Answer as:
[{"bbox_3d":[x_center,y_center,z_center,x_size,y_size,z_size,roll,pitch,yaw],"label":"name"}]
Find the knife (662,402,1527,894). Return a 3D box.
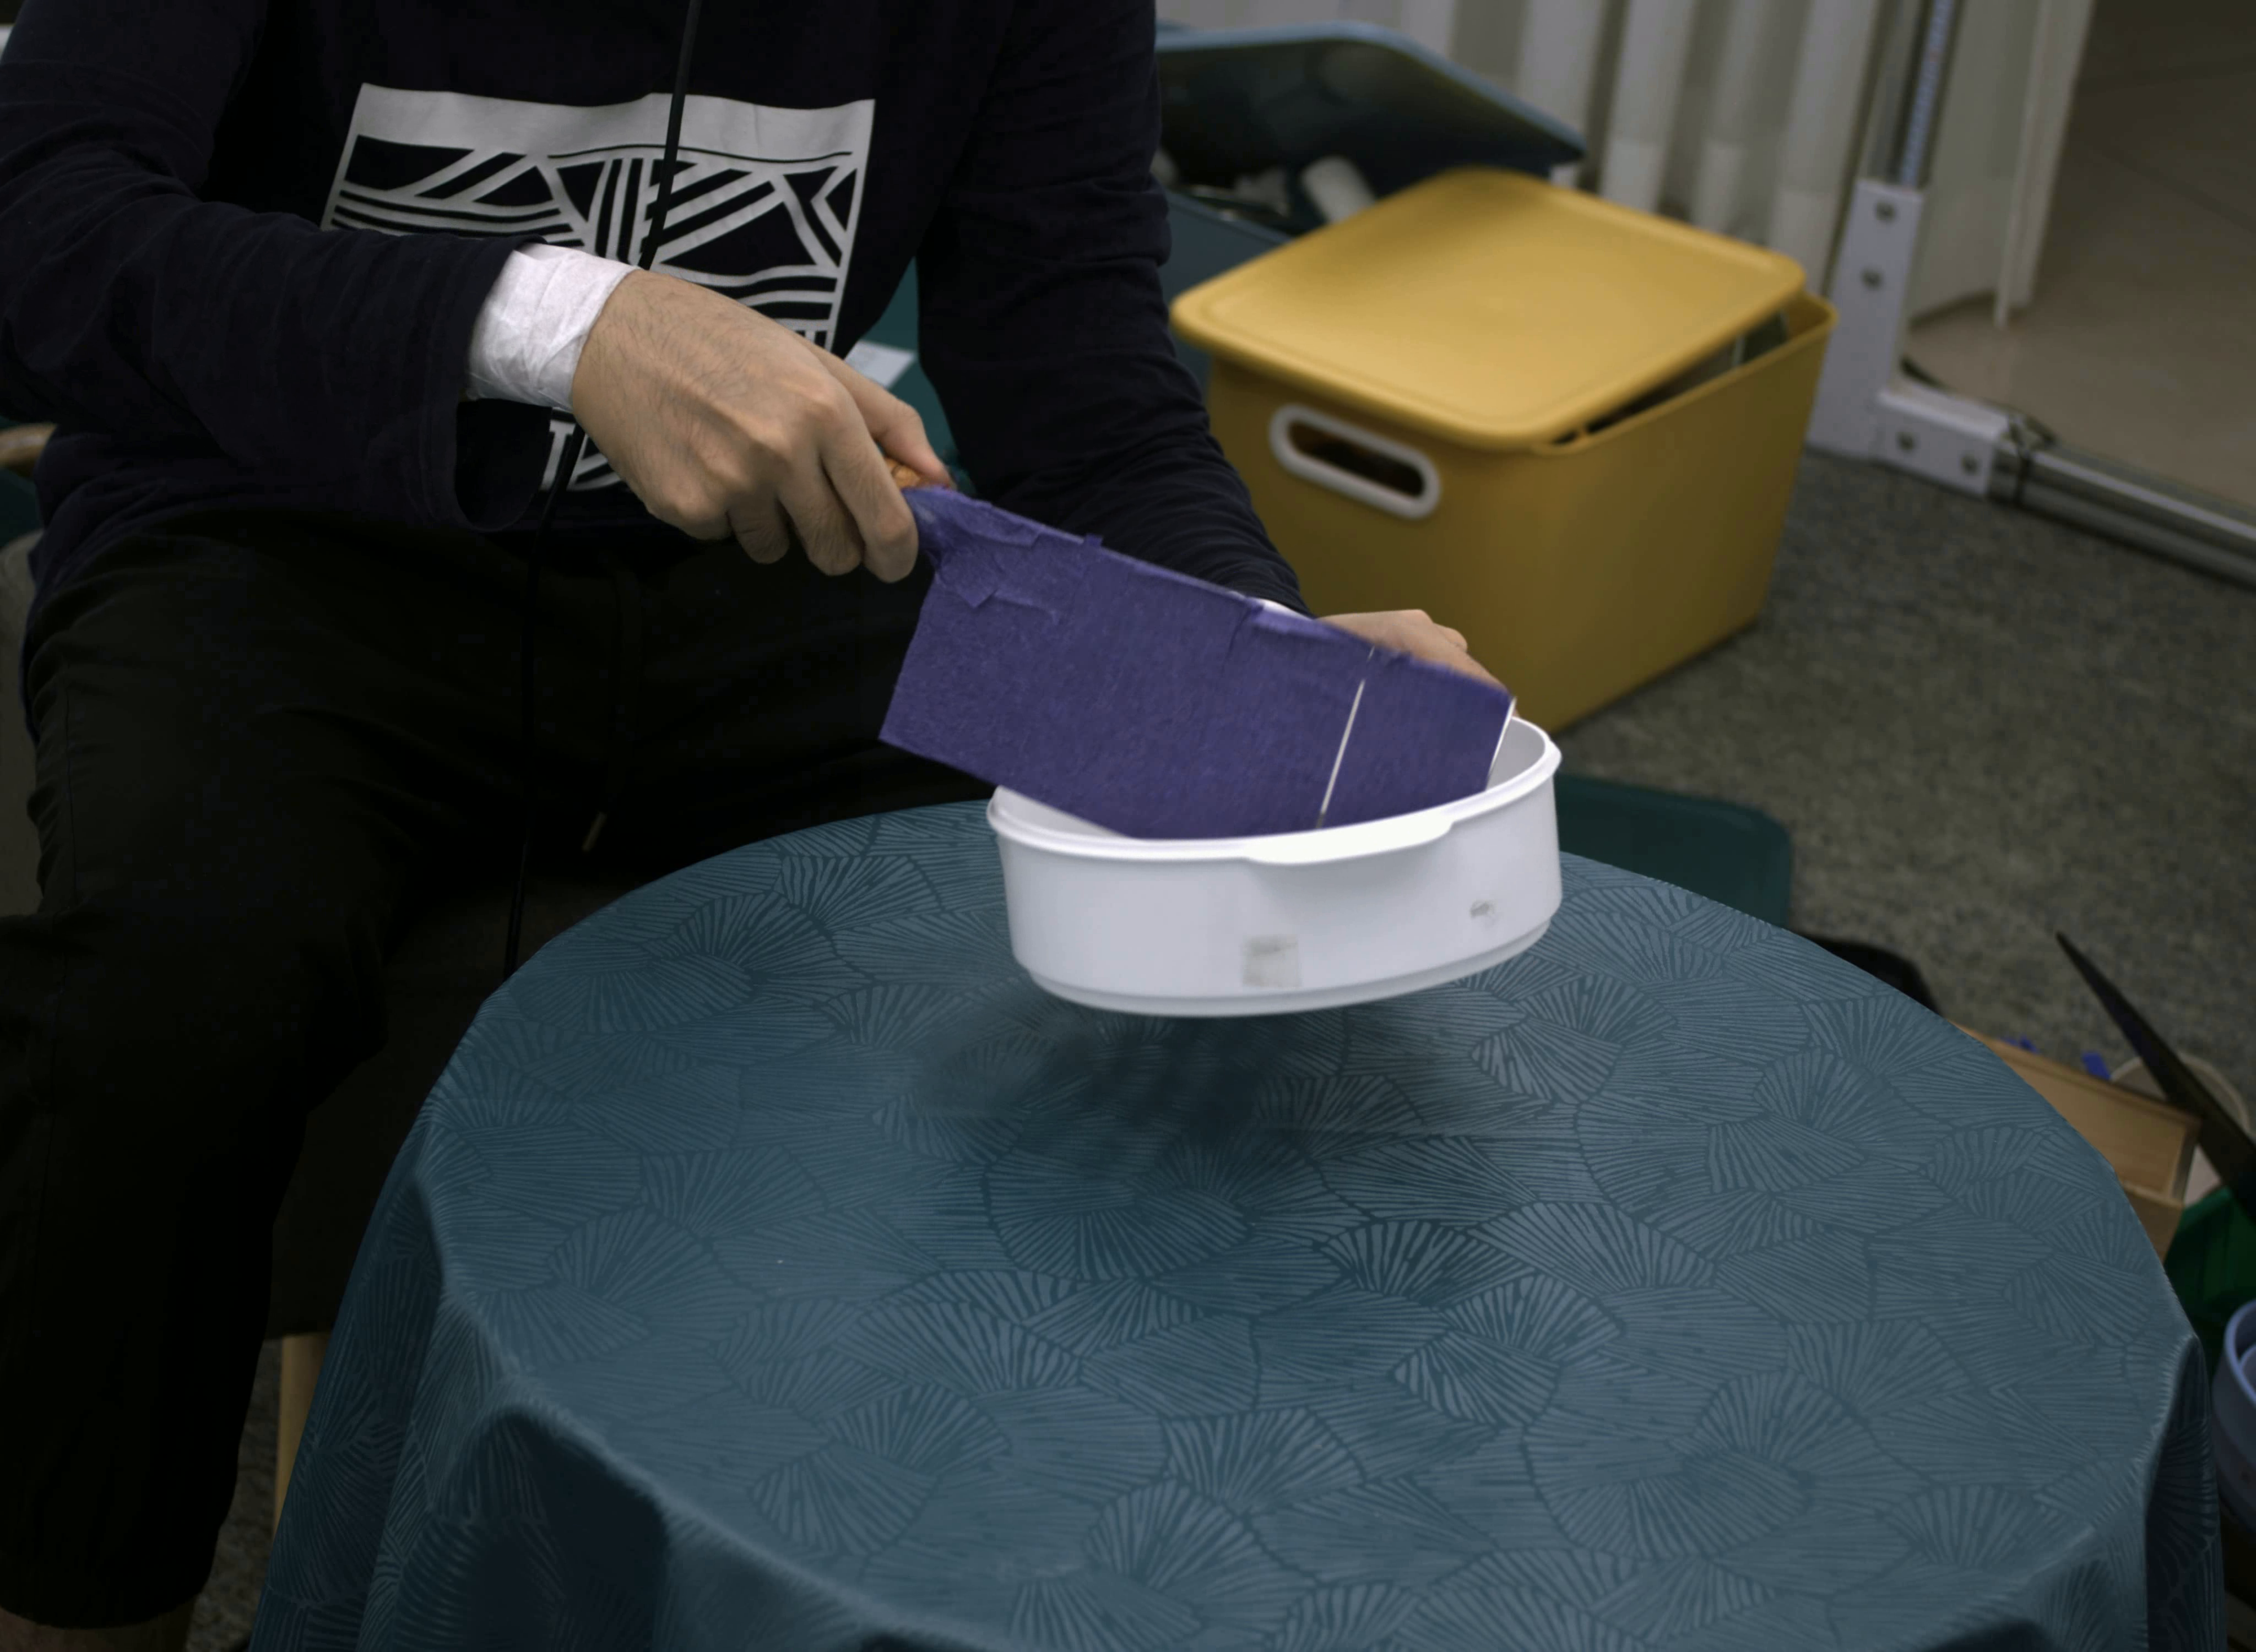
[{"bbox_3d":[-0.024,-0.058,1.820,0.316,0.104,0.032,19,5,15],"label":"knife"}]

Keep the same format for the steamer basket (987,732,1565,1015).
[{"bbox_3d":[0.054,0.016,1.855,0.201,0.069,0.231,-8,11,-11],"label":"steamer basket"}]
